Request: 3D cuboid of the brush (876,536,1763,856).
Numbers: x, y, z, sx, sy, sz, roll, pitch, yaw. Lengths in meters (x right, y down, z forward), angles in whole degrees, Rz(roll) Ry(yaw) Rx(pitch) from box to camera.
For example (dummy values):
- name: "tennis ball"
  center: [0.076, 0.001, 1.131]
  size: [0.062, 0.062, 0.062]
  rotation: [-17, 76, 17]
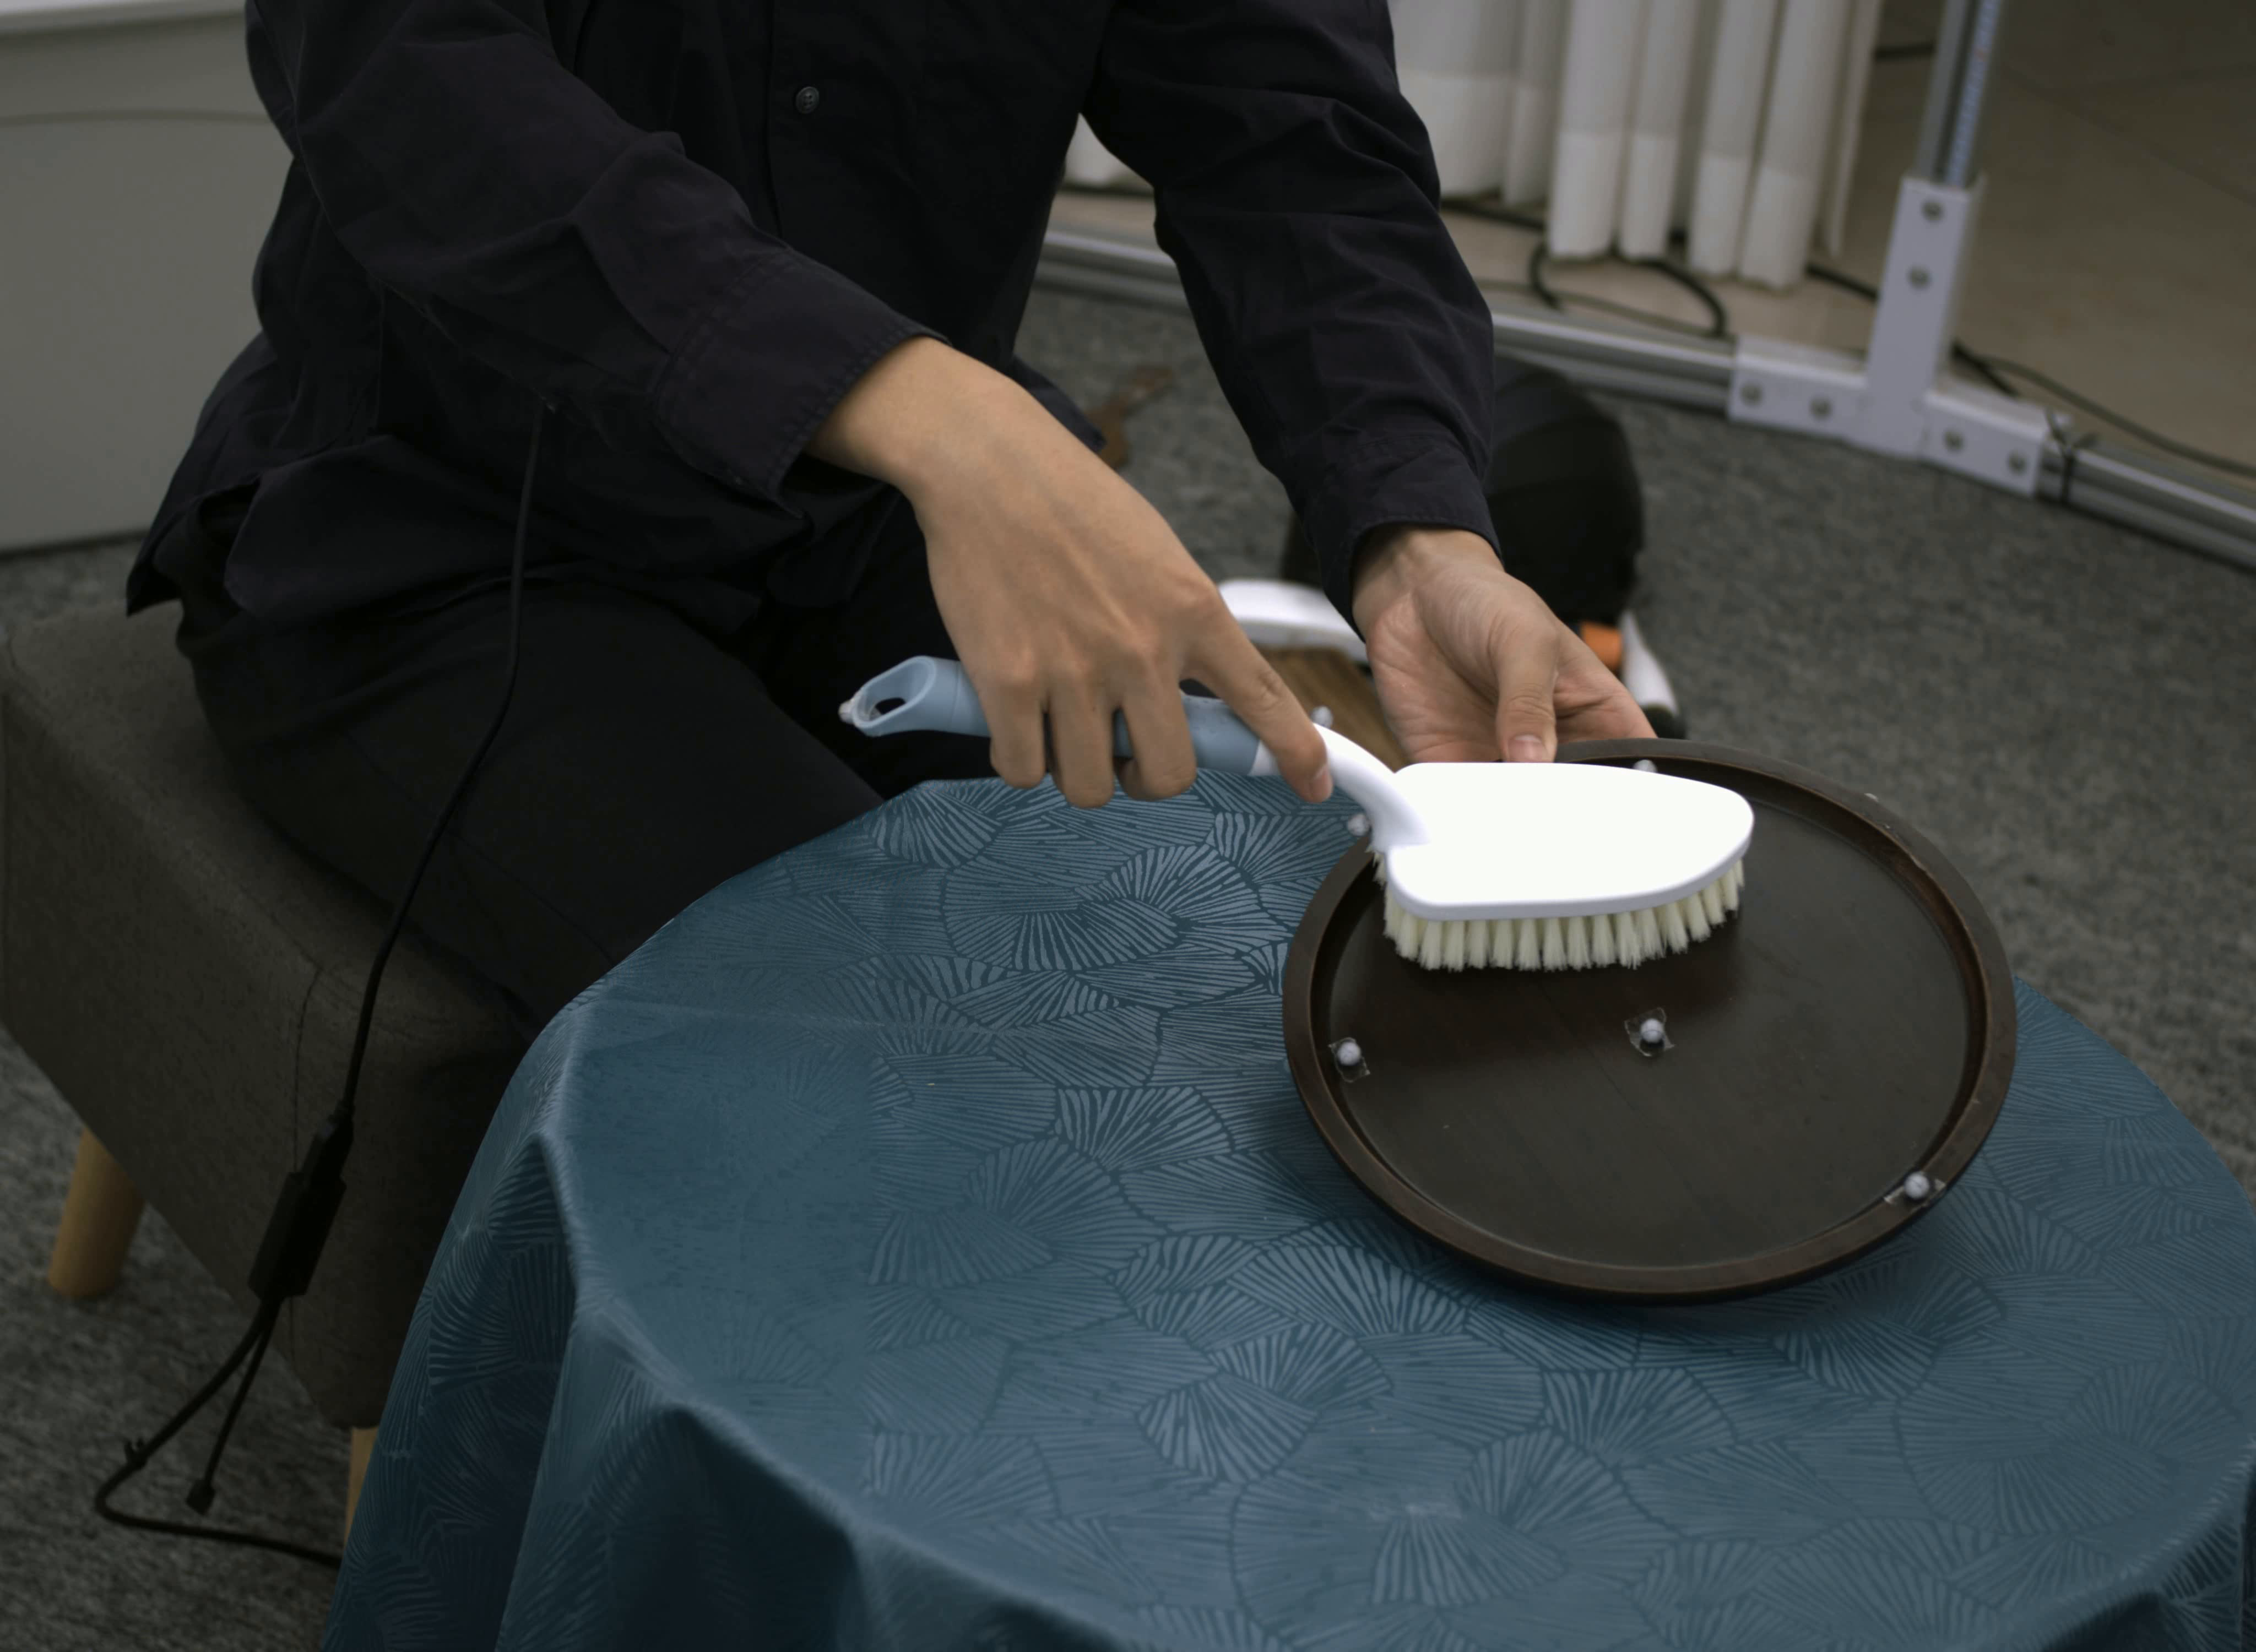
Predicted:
- name: "brush"
  center: [0.063, -0.042, 1.867]
  size: [0.323, 0.084, 0.083]
  rotation: [9, 9, -12]

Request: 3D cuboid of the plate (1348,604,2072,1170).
- name: "plate"
  center: [0.203, 0.021, 1.867]
  size: [0.254, 0.029, 0.257]
  rotation: [-3, 48, 3]
